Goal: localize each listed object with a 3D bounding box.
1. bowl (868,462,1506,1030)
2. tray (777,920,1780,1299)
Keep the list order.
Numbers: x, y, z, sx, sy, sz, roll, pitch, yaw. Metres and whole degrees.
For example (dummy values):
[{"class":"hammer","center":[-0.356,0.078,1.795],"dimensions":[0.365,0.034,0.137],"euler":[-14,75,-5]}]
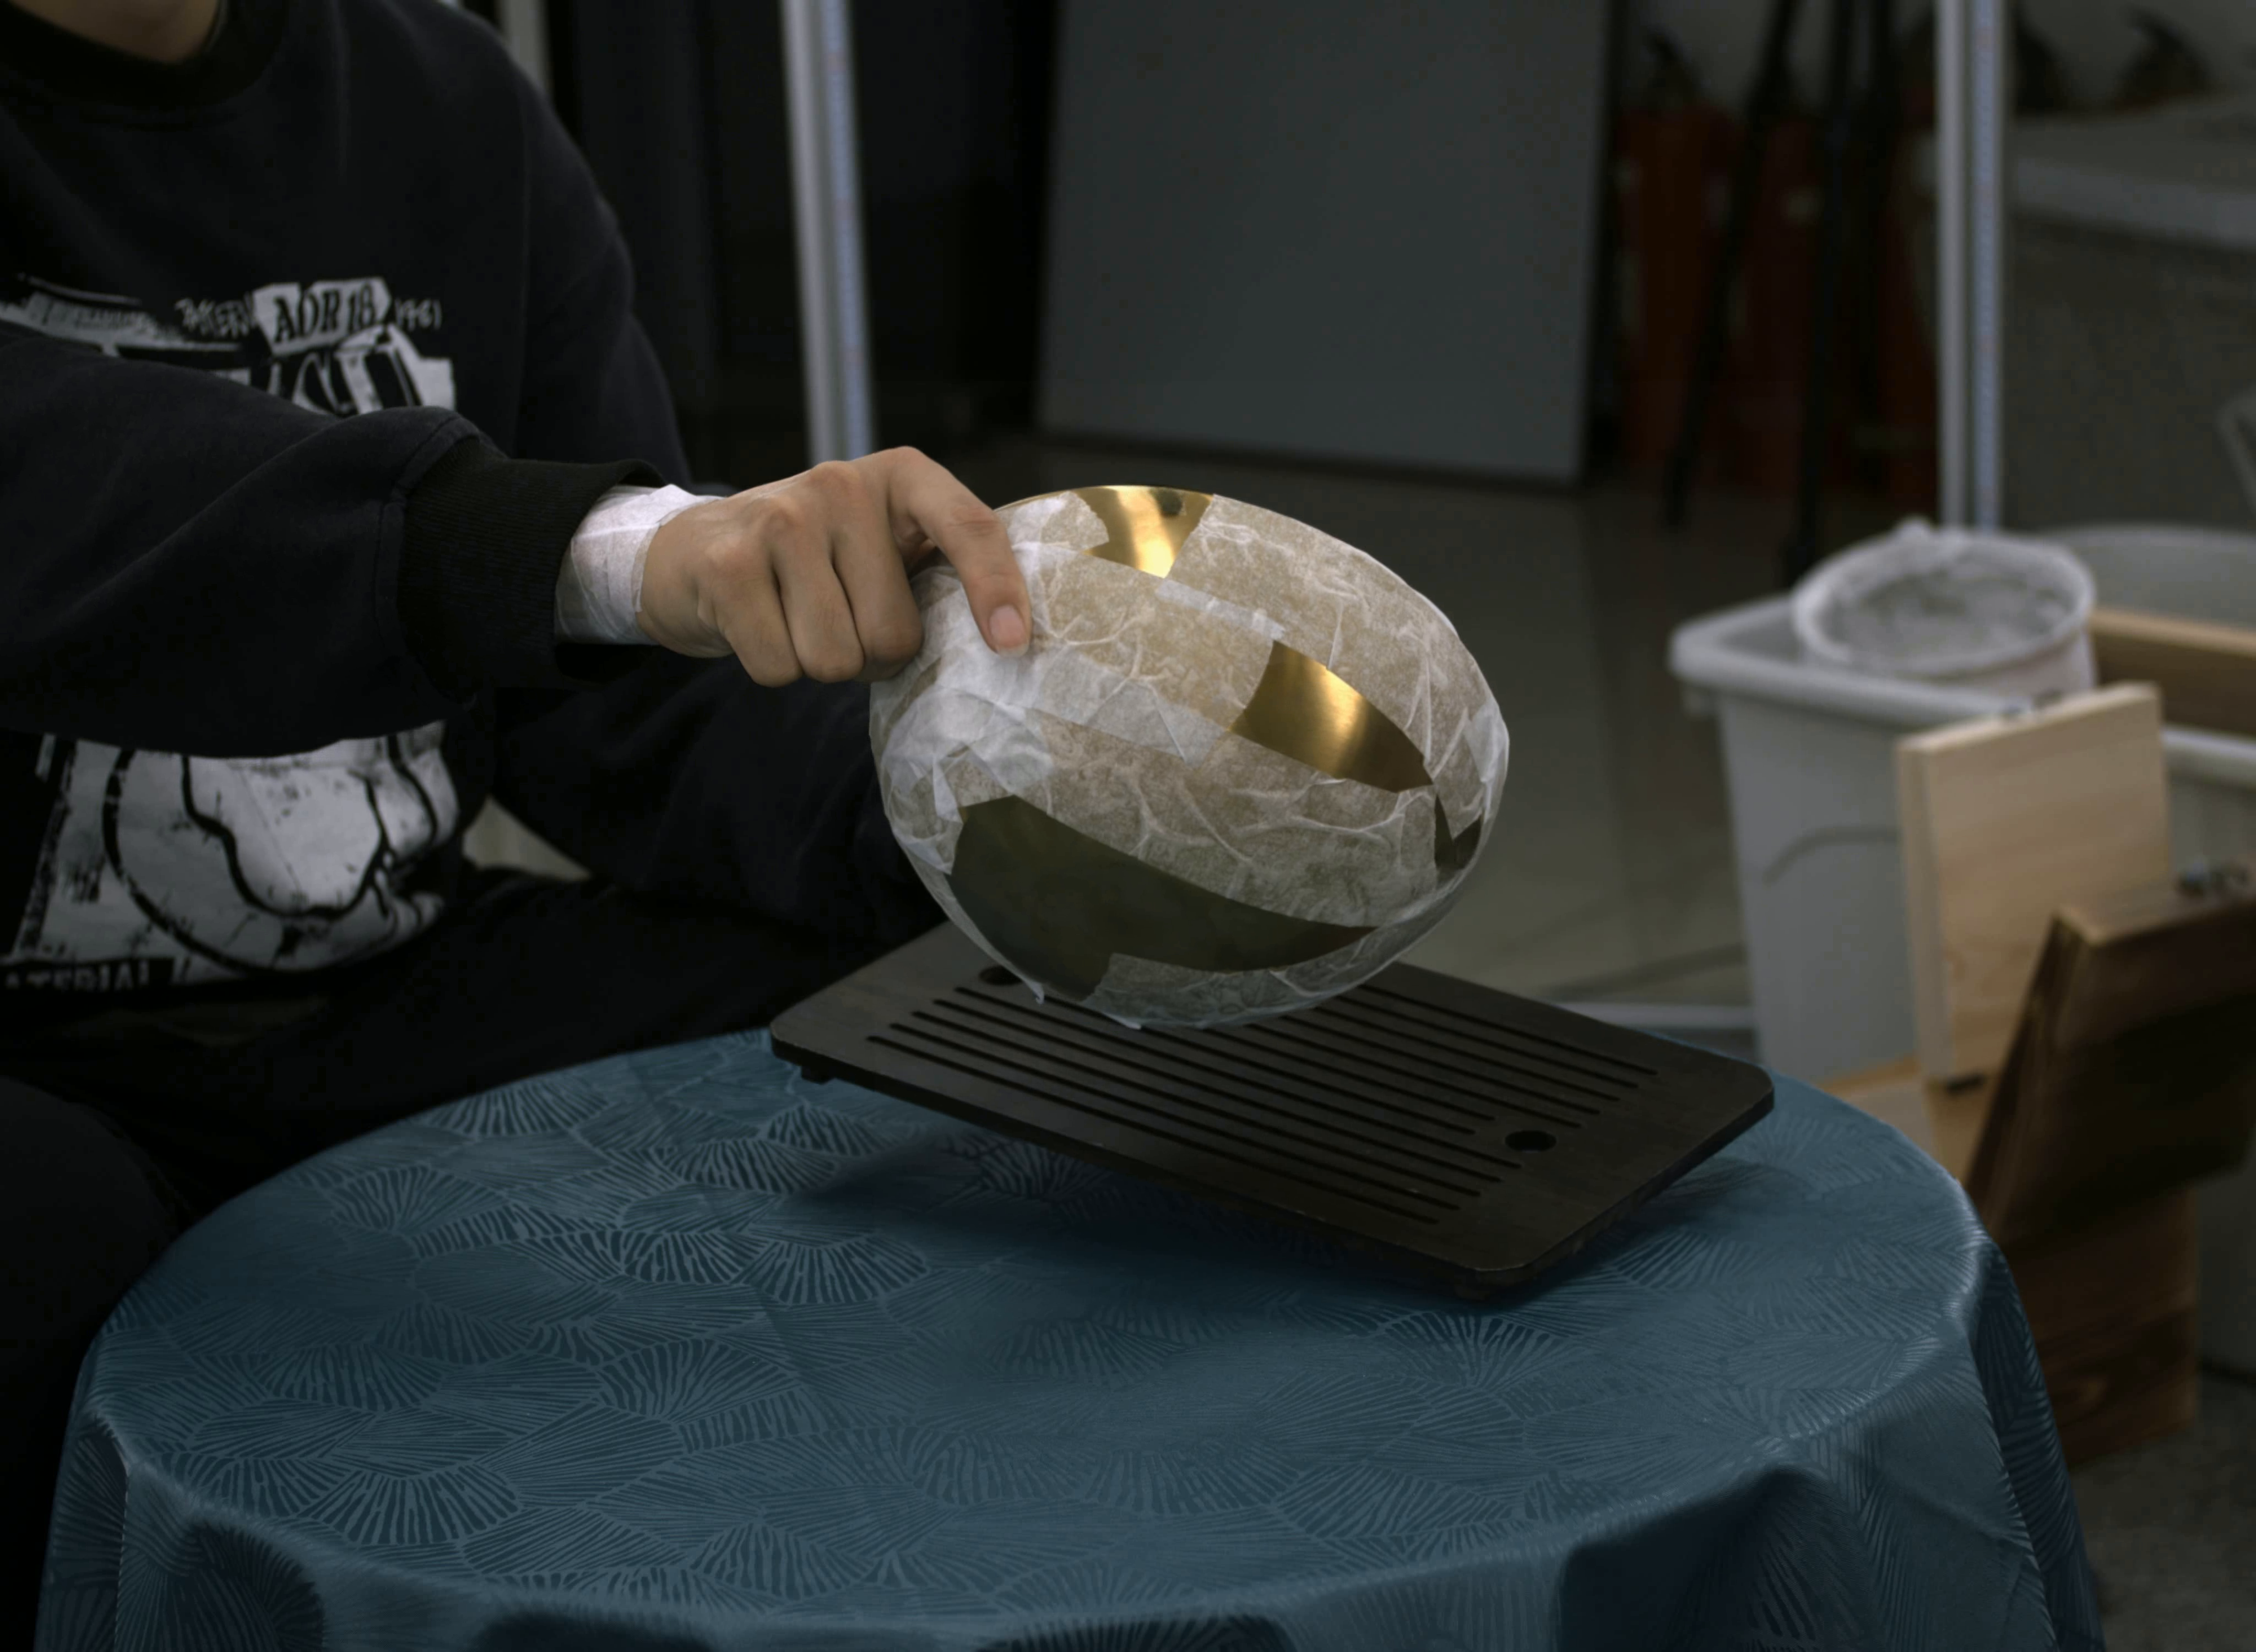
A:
[{"class":"bowl","center":[0.008,-0.003,1.651],"dimensions":[0.214,0.214,0.095],"euler":[2,48,19]},{"class":"tray","center":[0.047,0.082,1.774],"dimensions":[0.308,0.019,0.167],"euler":[15,29,36]}]
